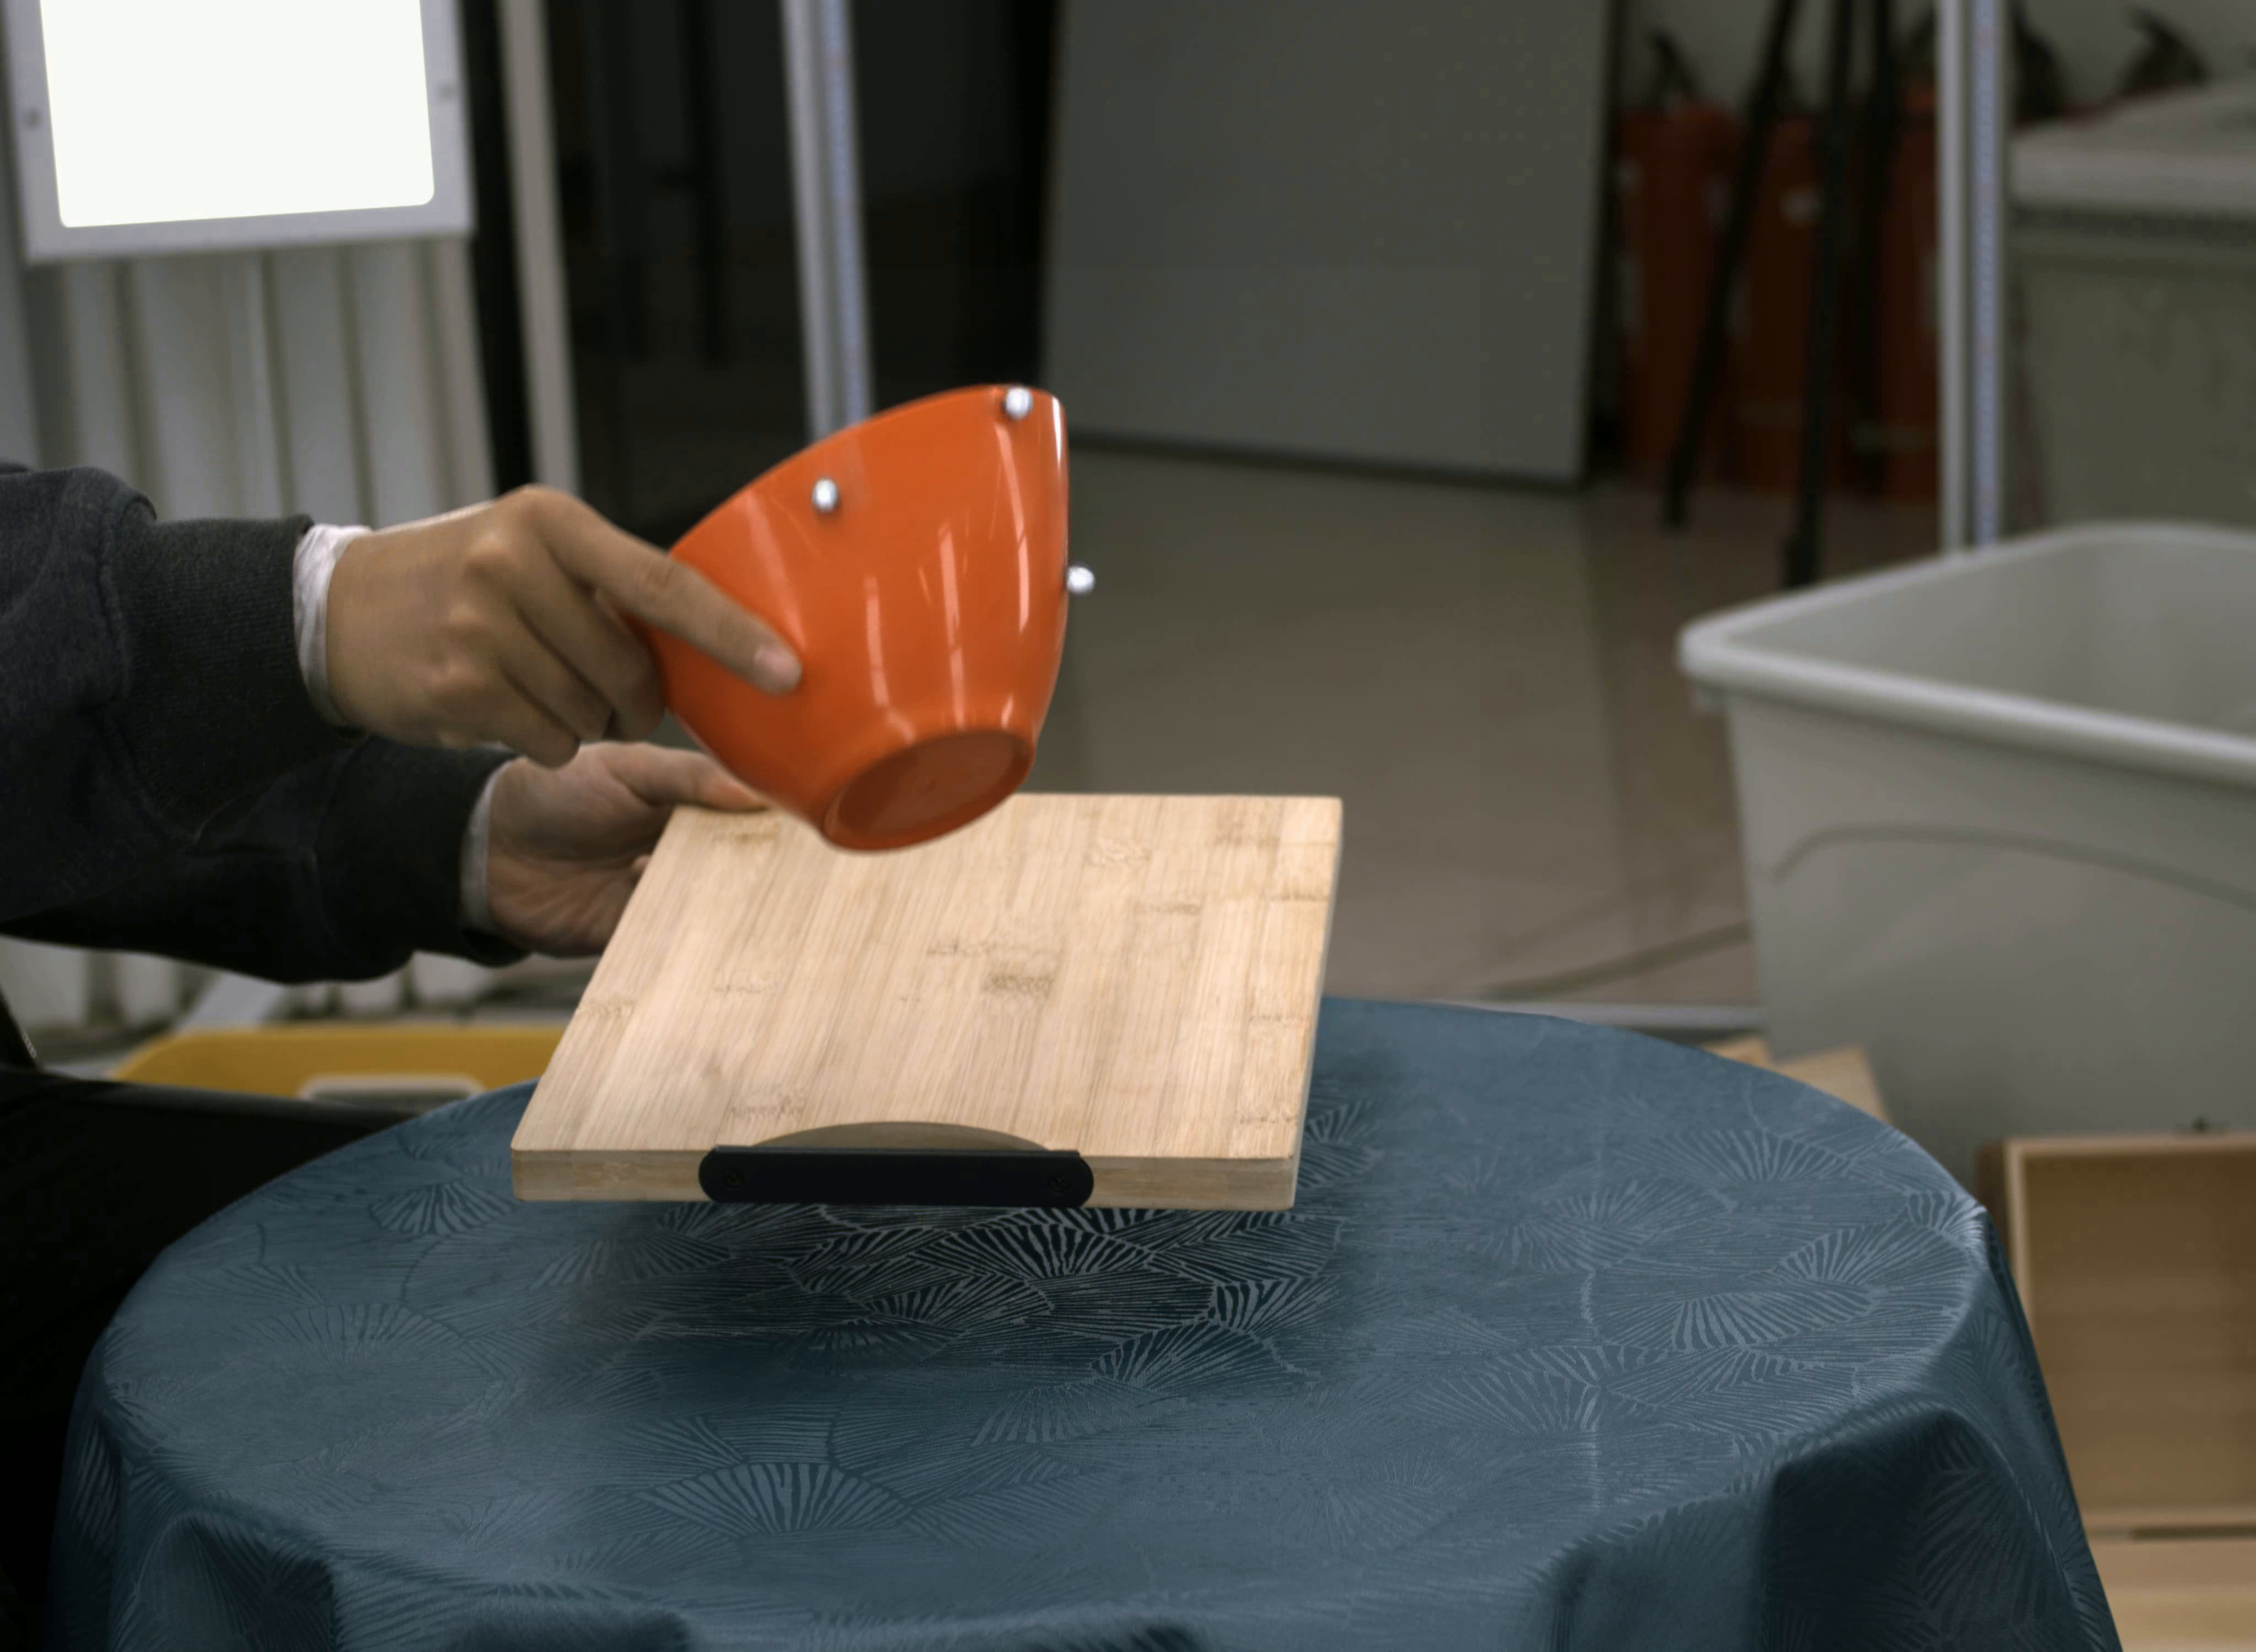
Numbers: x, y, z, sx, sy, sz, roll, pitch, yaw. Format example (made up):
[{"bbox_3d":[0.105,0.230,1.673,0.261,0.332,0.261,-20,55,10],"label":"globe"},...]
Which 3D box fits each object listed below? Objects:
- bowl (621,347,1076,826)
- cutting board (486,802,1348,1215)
[{"bbox_3d":[-0.067,-0.060,1.559,0.146,0.106,0.148,-18,-27,-10],"label":"bowl"},{"bbox_3d":[-0.057,0.054,1.765,0.248,0.024,0.348,-1,18,5],"label":"cutting board"}]
